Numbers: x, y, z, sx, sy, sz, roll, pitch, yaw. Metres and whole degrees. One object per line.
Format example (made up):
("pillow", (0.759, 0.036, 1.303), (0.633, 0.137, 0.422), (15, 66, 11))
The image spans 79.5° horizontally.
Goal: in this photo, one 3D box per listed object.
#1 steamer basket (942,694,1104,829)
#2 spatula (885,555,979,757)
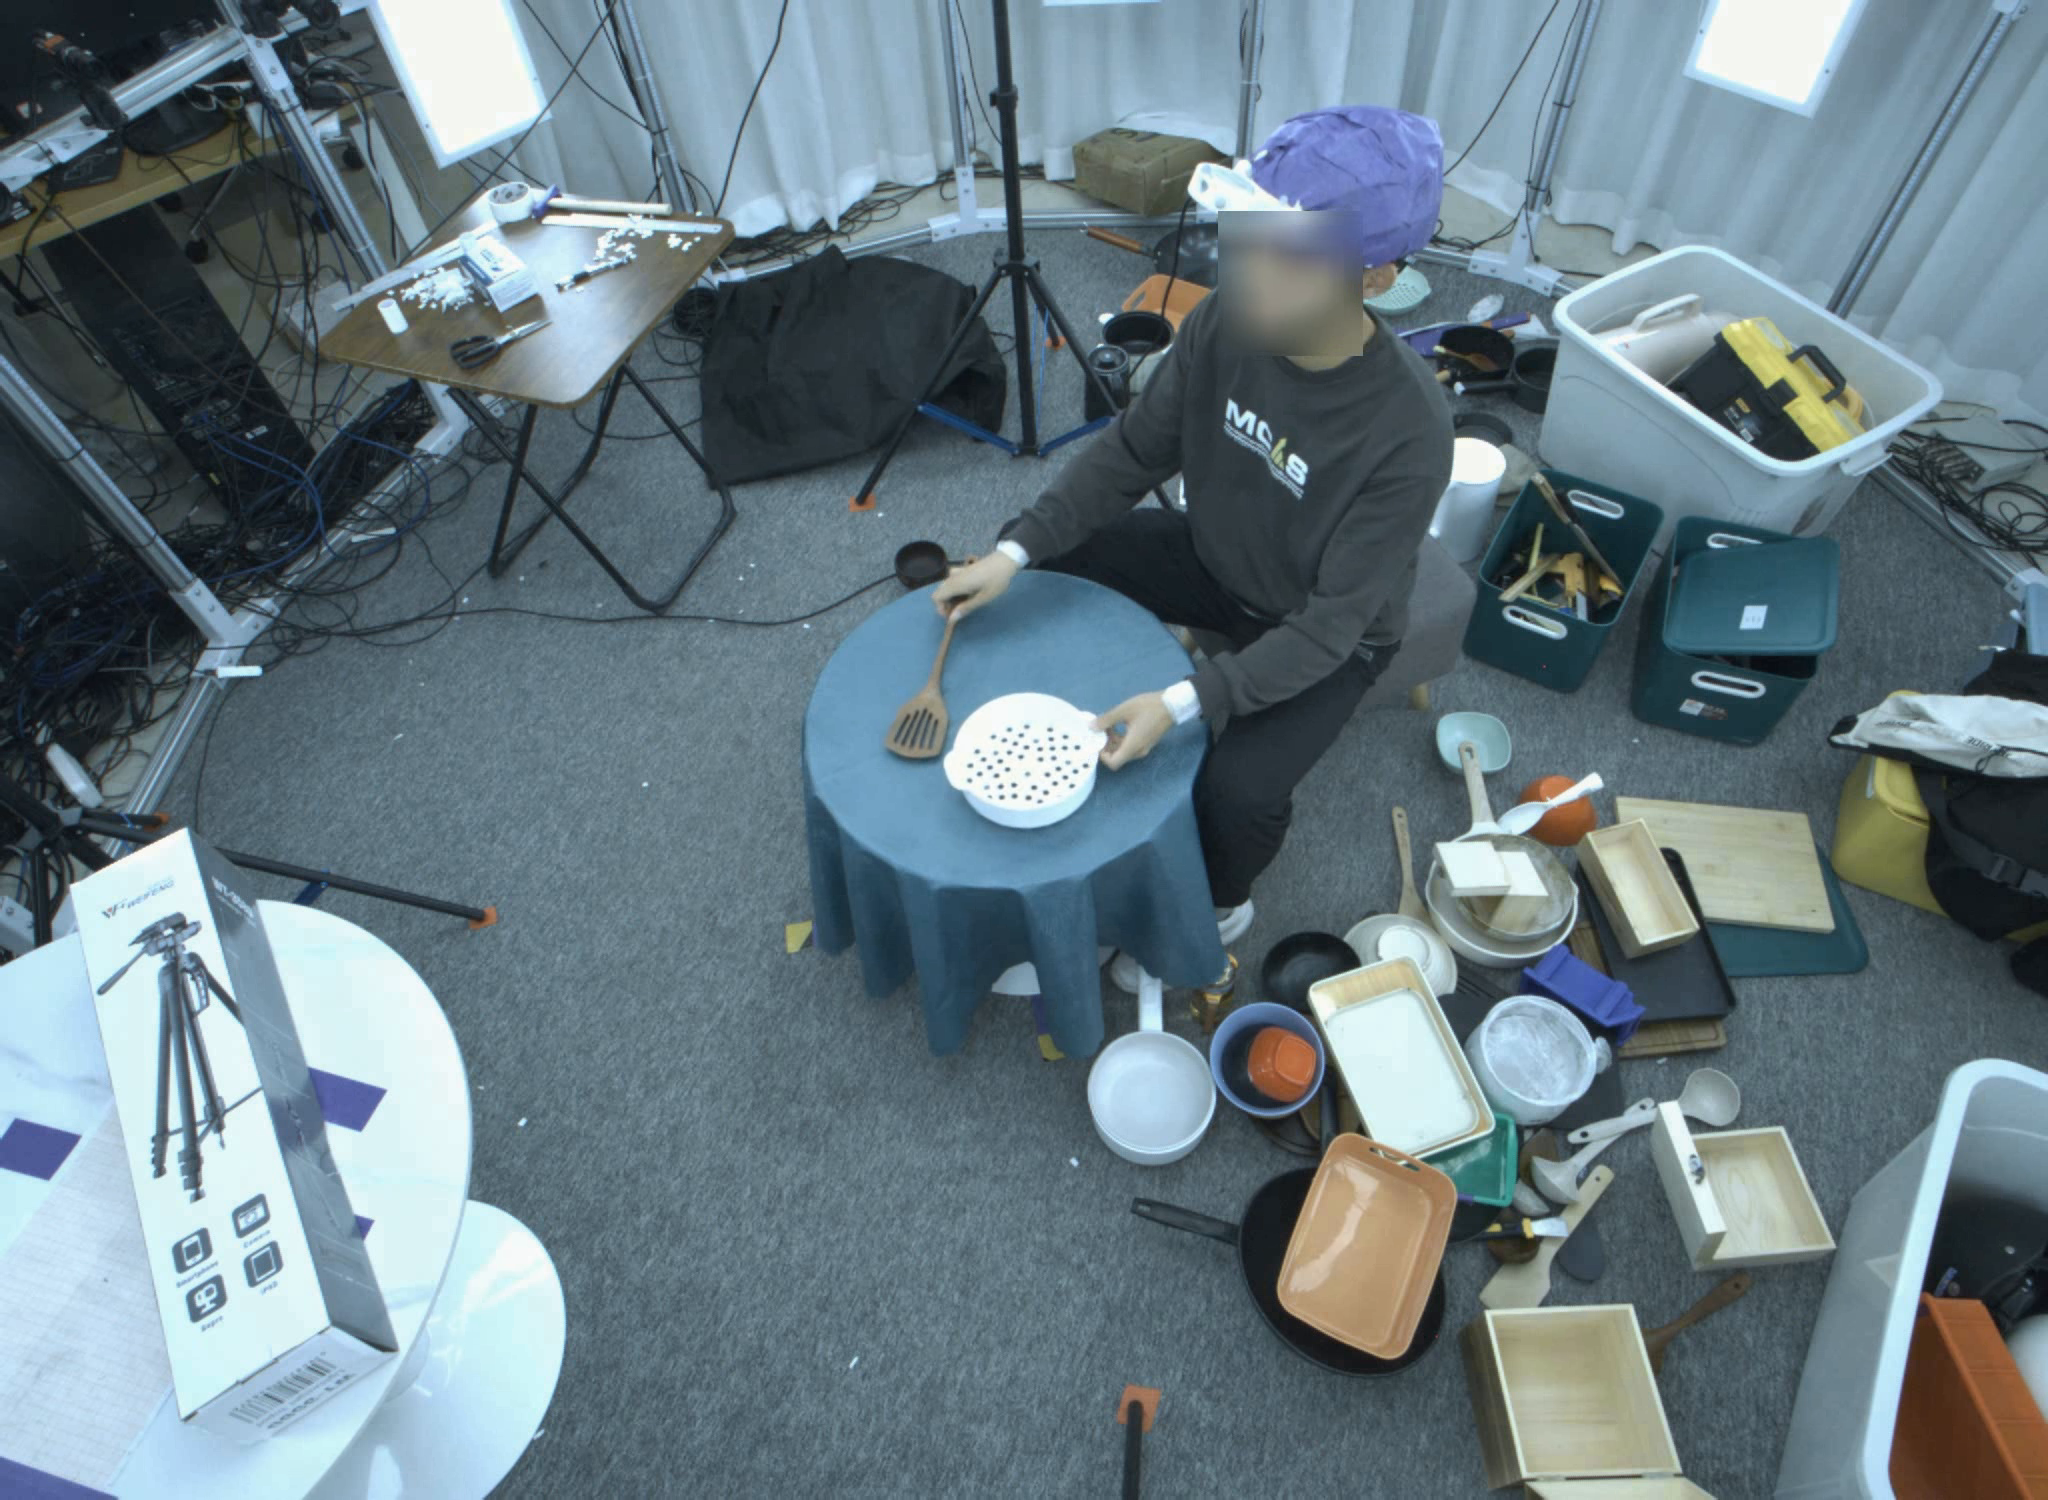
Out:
("steamer basket", (-0.001, 0.019, 1.743), (0.232, 0.070, 0.198), (-15, 58, -13))
("spatula", (-0.125, -0.151, 1.880), (0.085, 0.024, 0.383), (11, 61, 5))
